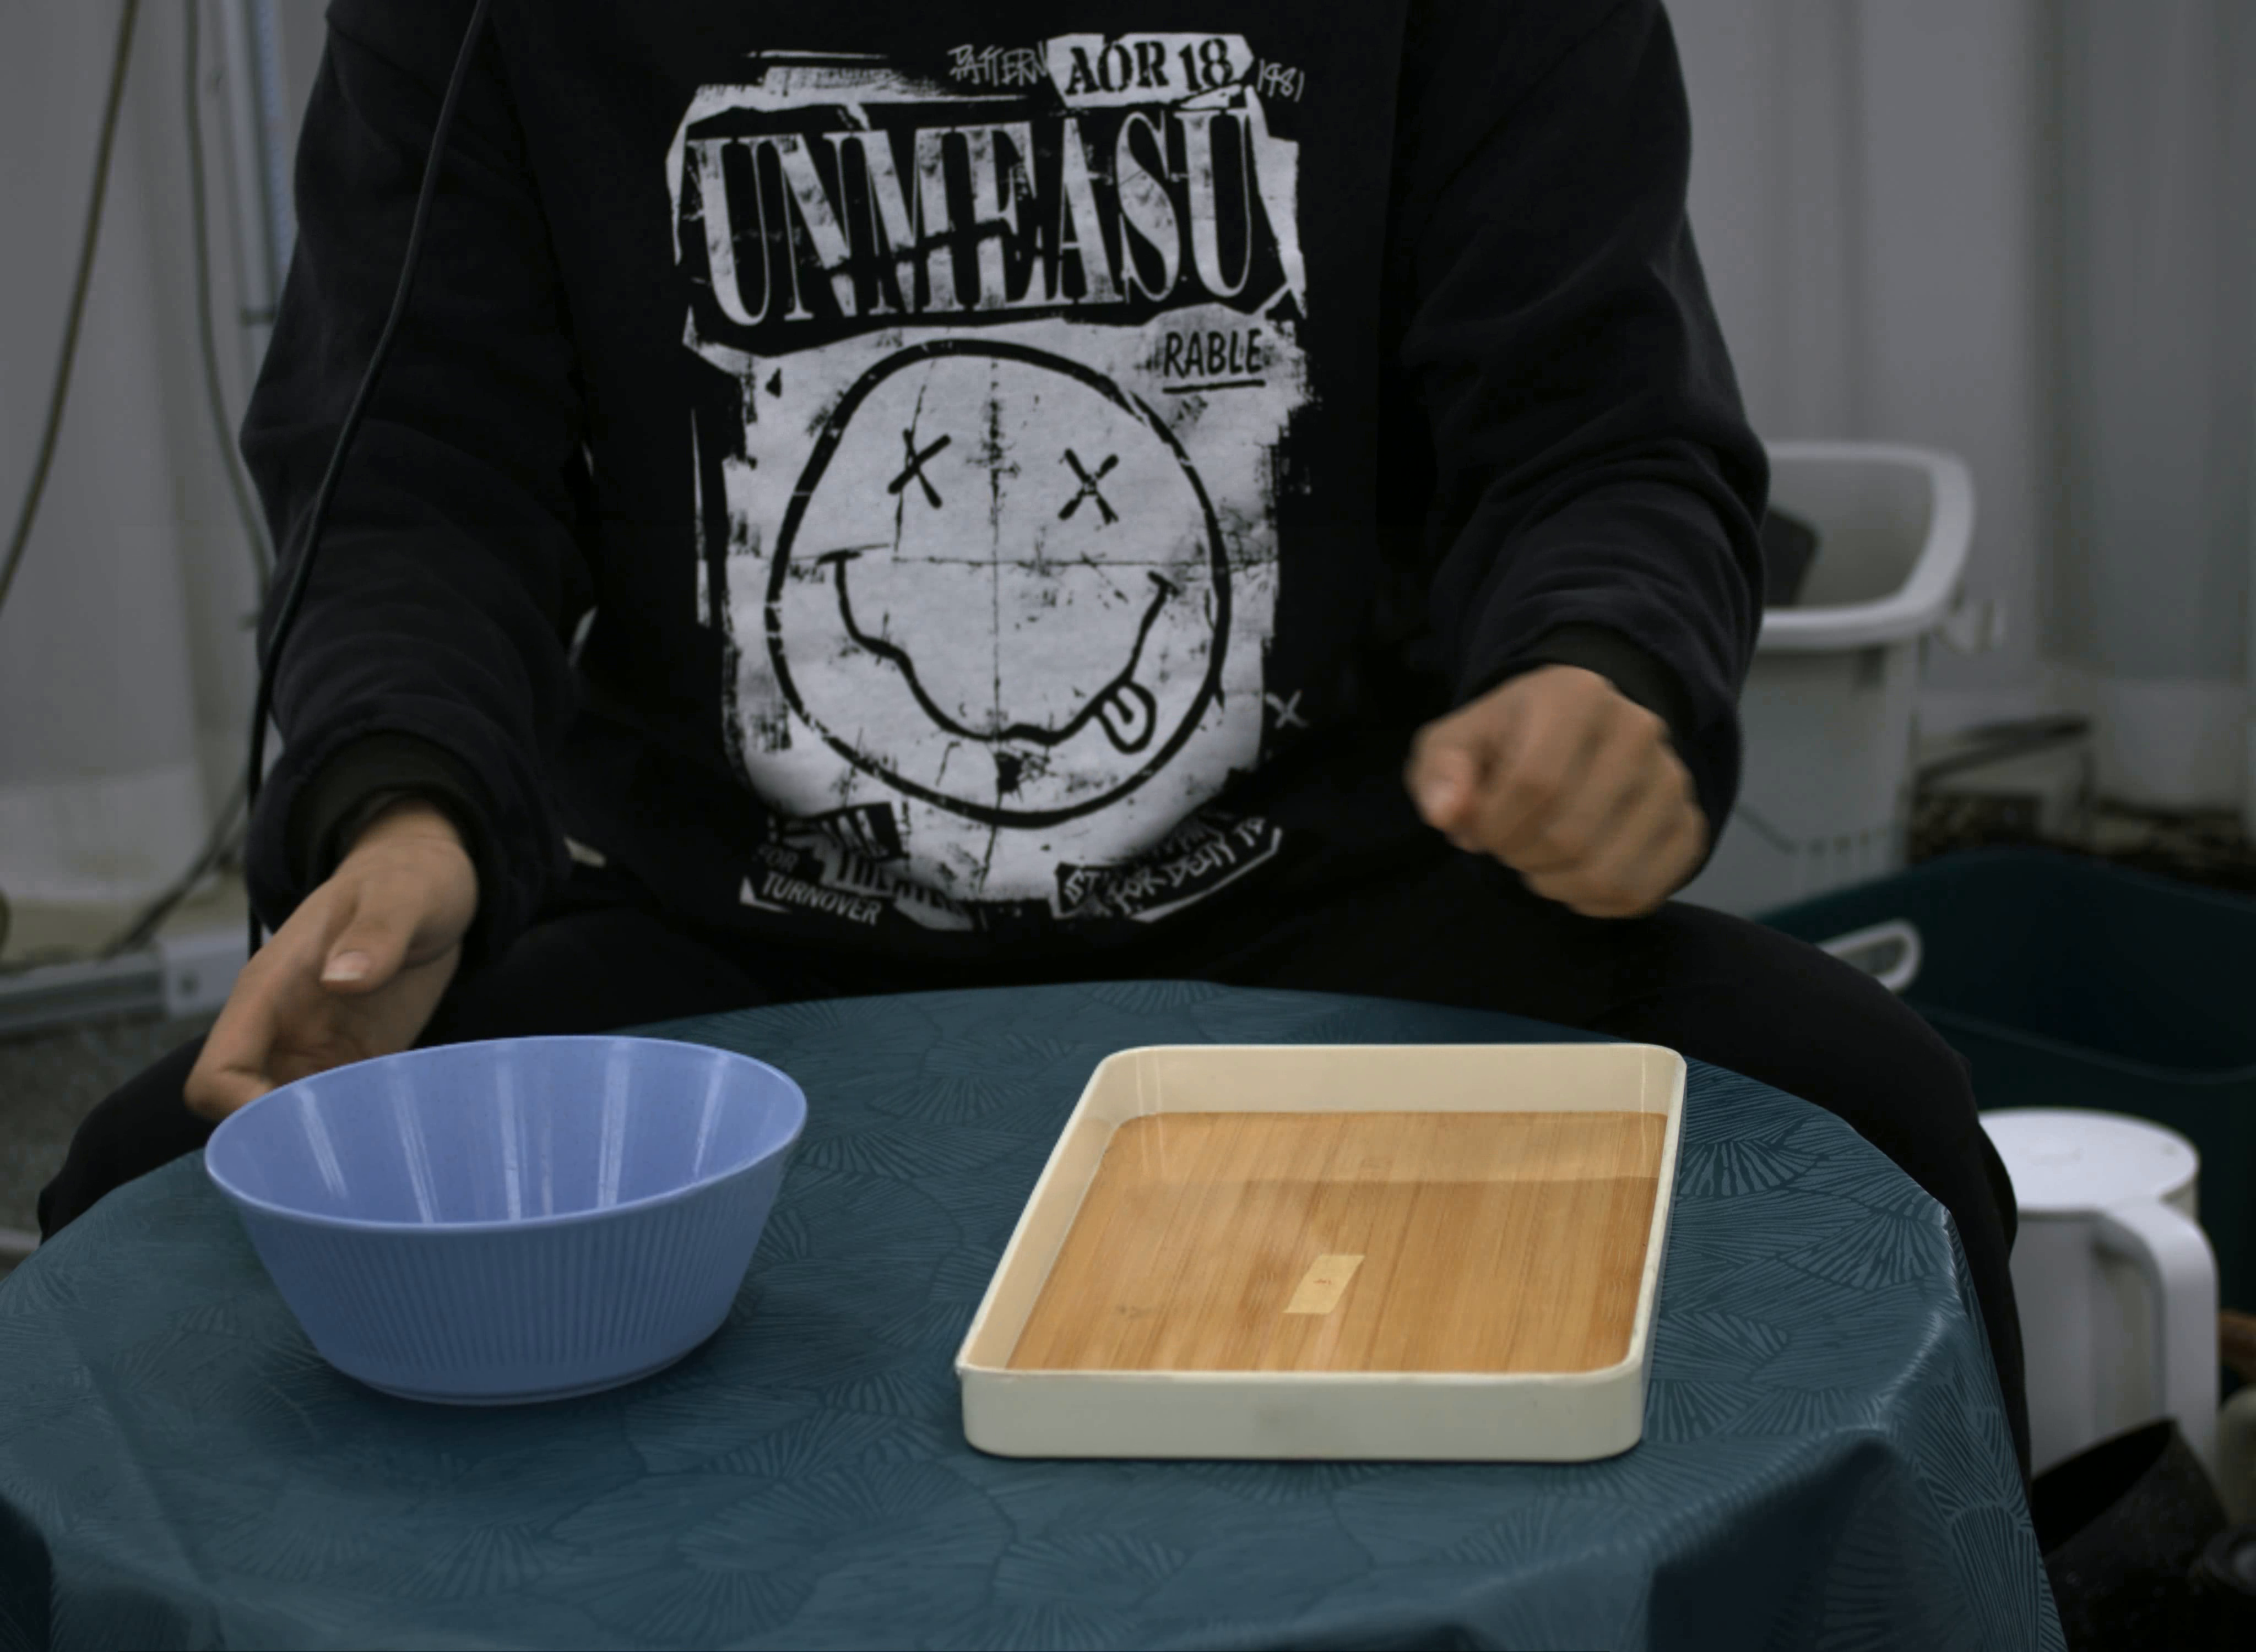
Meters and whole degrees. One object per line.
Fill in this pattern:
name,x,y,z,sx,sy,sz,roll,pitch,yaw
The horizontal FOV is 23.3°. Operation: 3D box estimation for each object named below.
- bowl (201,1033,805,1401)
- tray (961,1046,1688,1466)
bowl,-0.181,0.117,1.602,0.175,0.070,0.177,-2,15,0
tray,0.066,0.123,1.622,0.191,0.027,0.302,0,15,9
